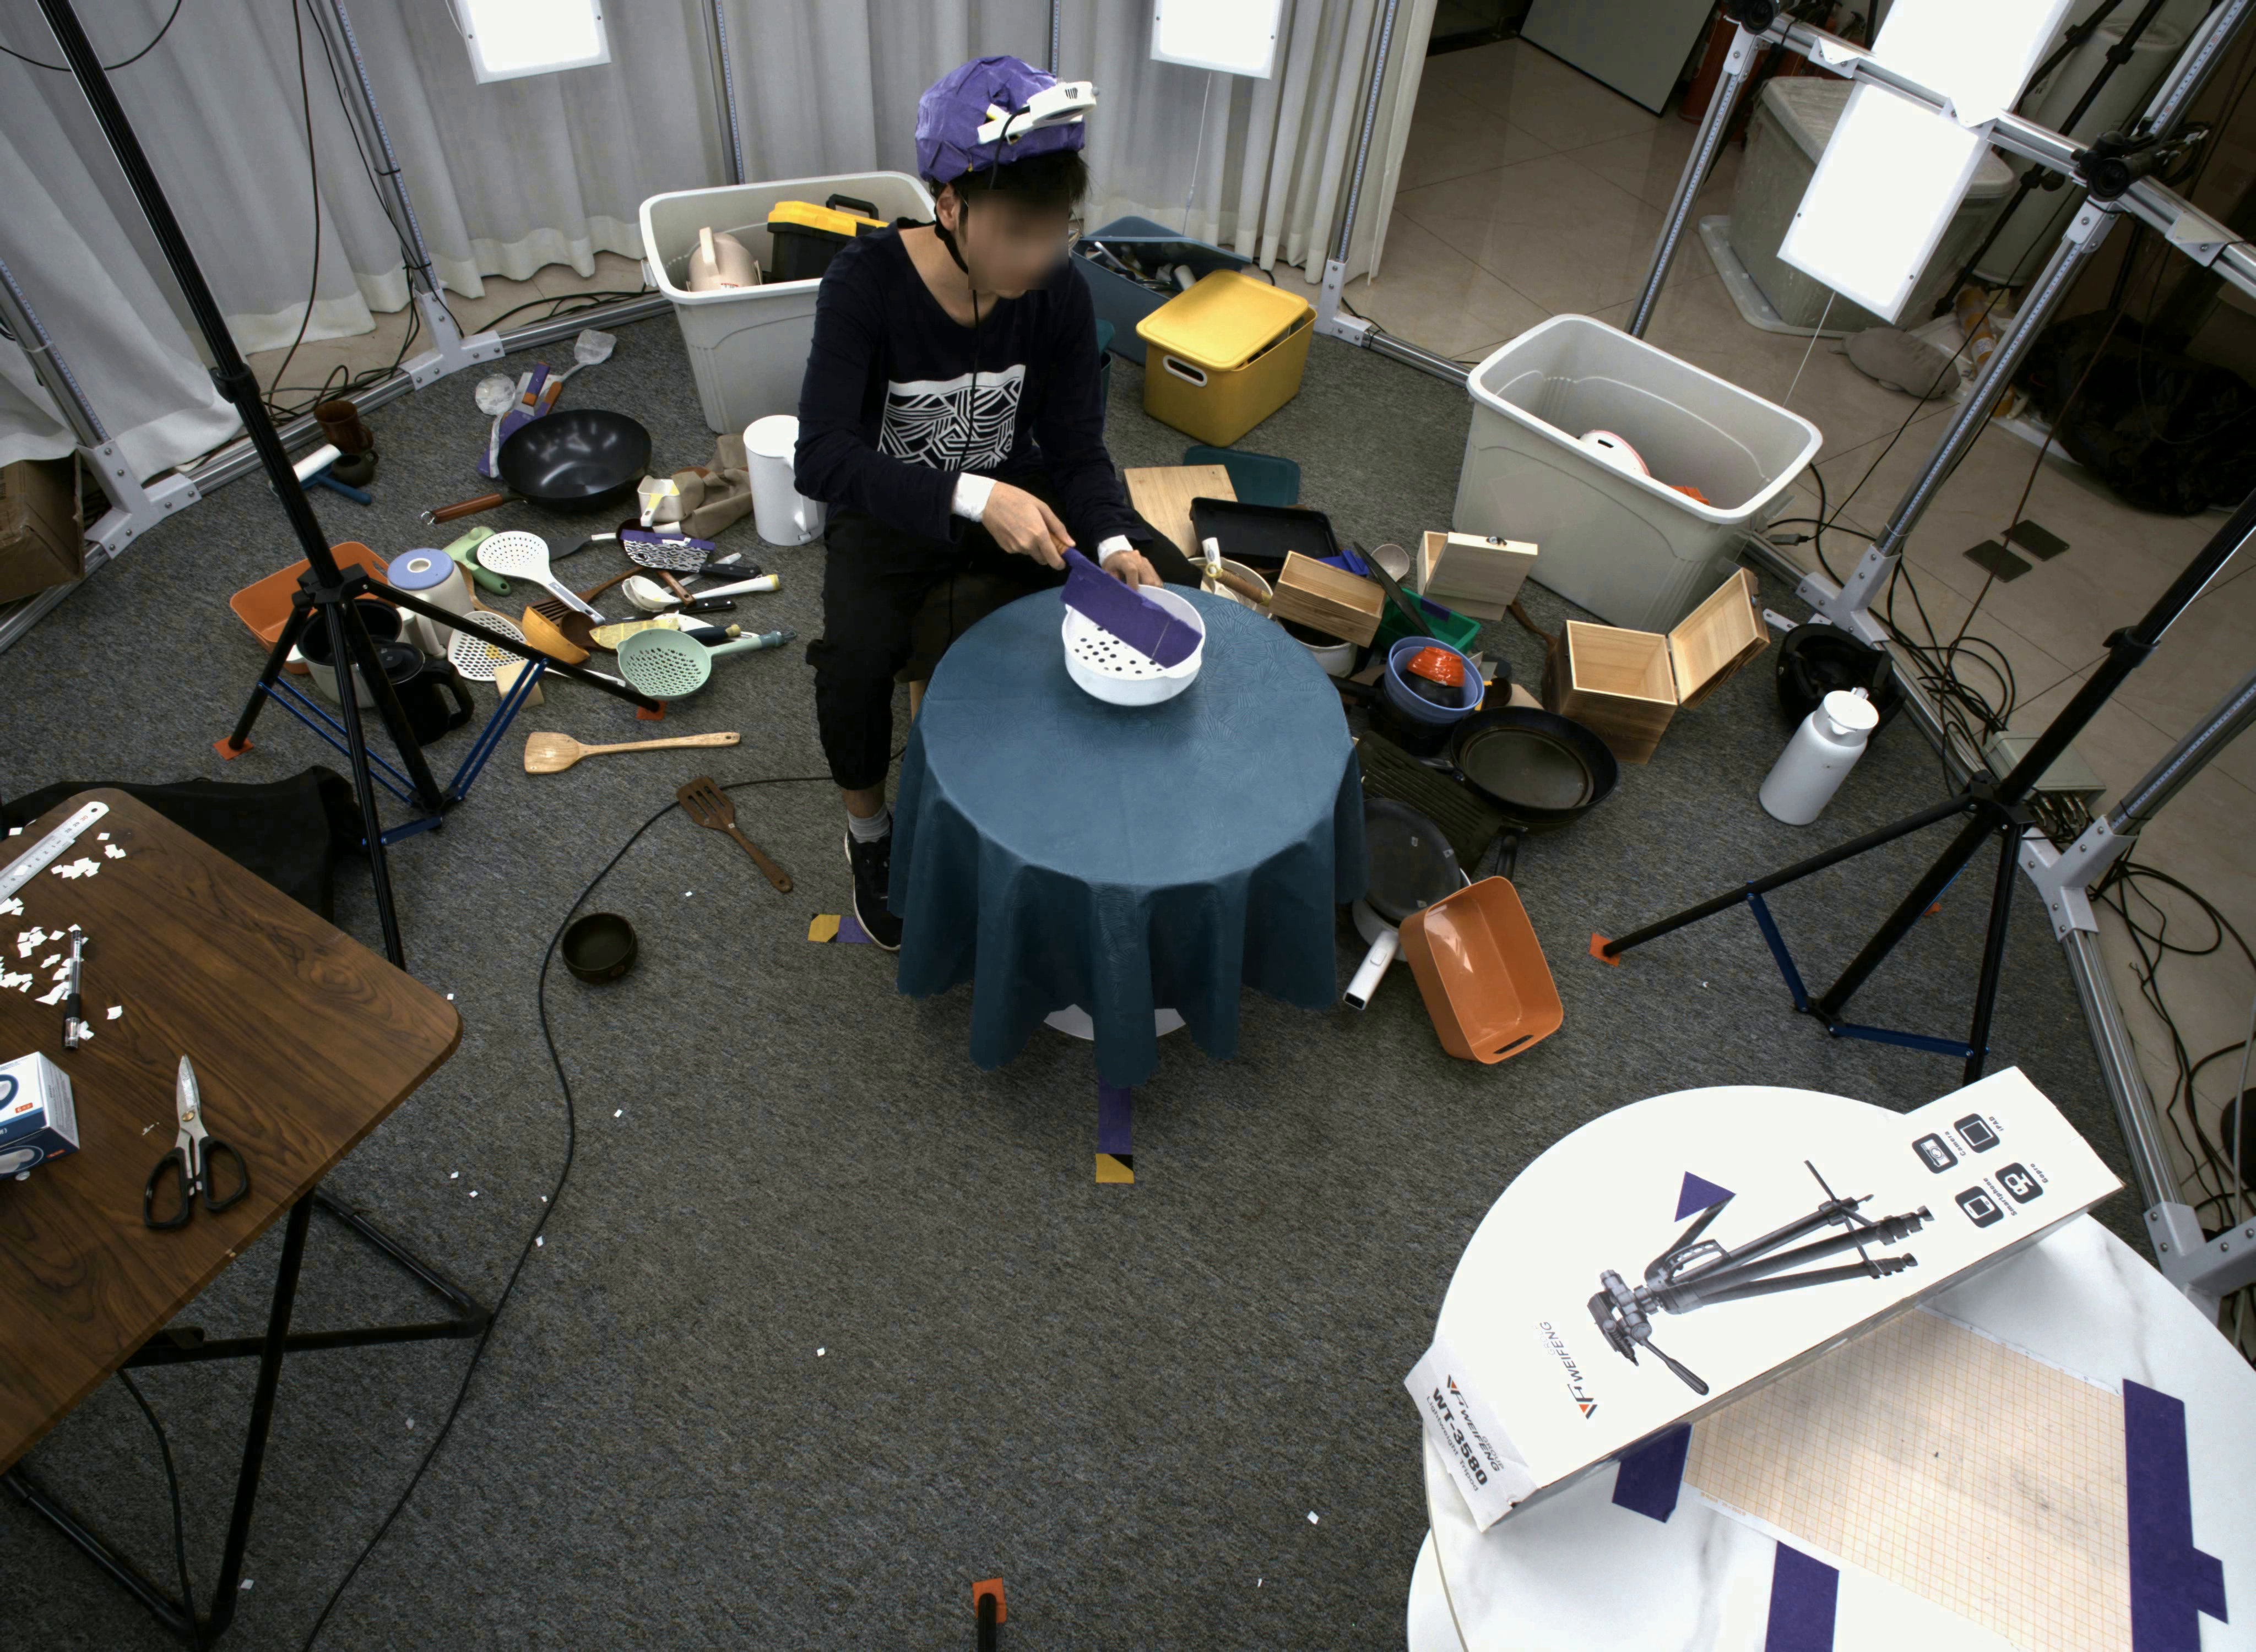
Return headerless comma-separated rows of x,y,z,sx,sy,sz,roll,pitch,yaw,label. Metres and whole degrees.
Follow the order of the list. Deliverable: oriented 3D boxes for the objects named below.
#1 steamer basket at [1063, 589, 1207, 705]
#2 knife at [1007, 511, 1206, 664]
0.010,-0.253,1.816,0.234,0.067,0.203,35,53,30,steamer basket
-0.040,-0.319,1.784,0.316,0.102,0.033,34,48,7,knife
